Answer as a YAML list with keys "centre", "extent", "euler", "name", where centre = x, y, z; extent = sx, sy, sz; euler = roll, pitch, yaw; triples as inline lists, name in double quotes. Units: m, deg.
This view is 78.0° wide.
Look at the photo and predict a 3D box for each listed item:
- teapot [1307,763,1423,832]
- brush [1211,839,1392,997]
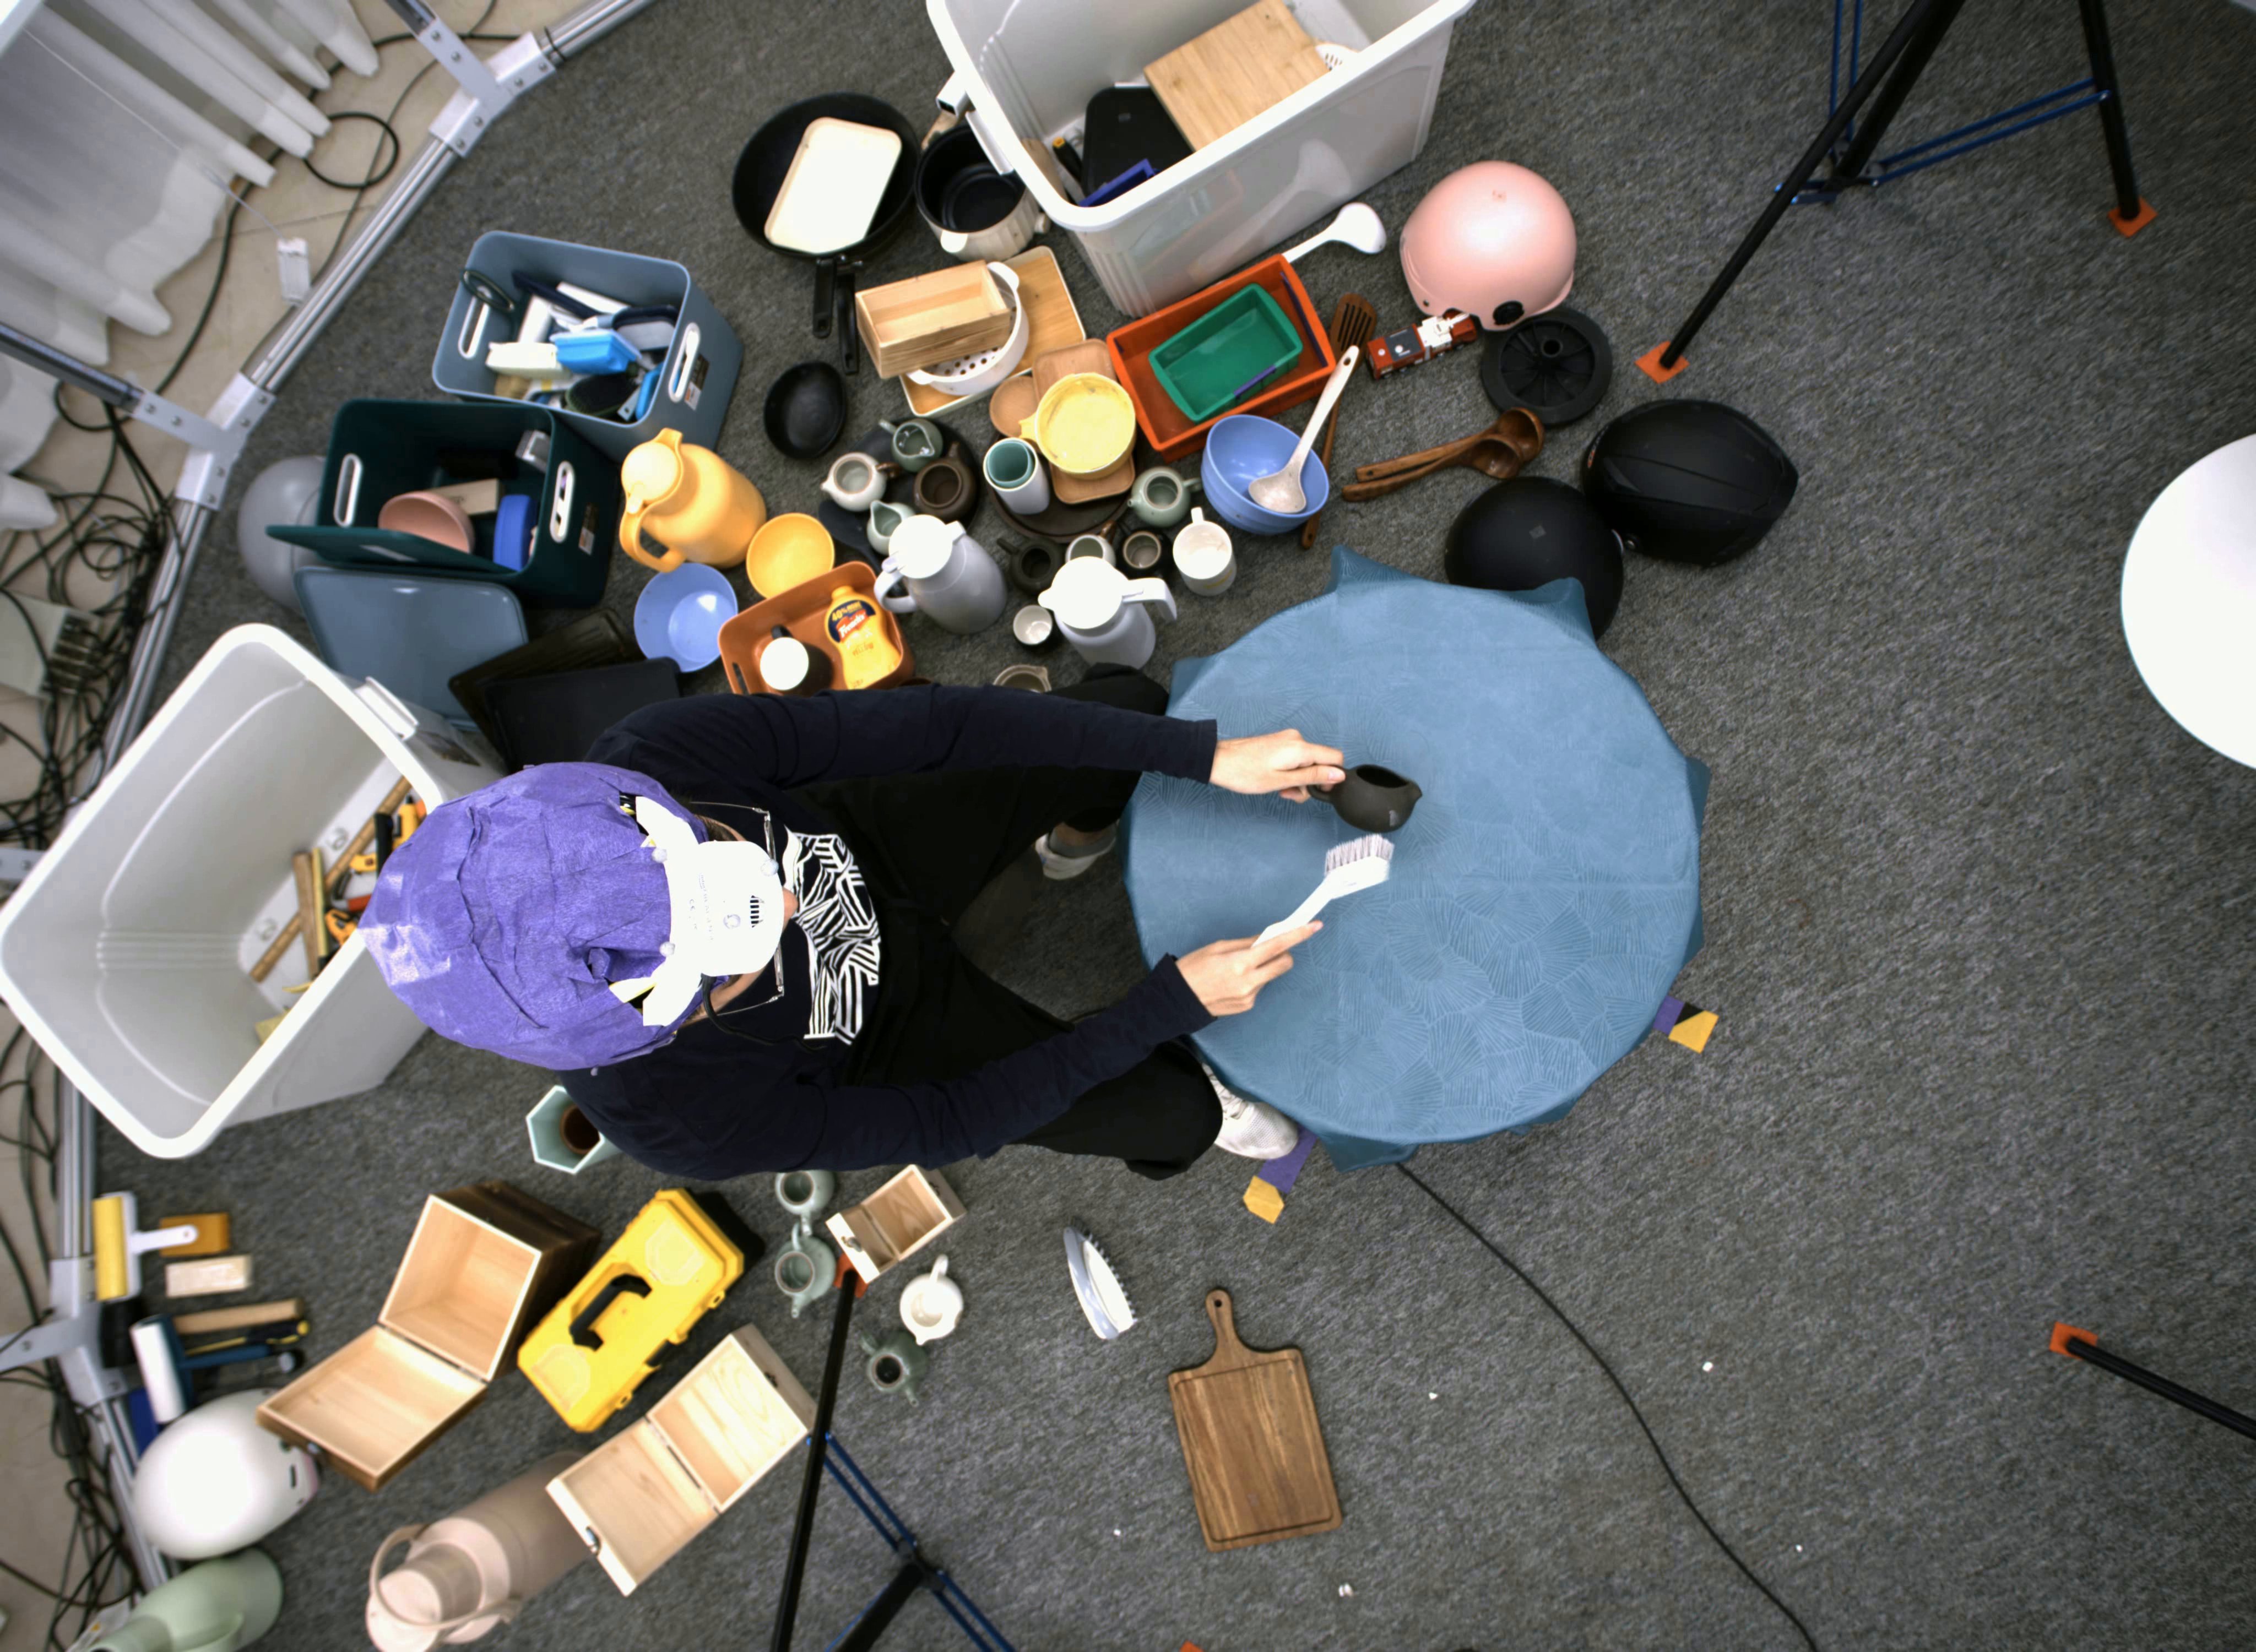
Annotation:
- centre: [0.237, -0.034, 1.394]
  extent: [0.114, 0.081, 0.054]
  euler: [16, 121, 5]
  name: "teapot"
- centre: [0.165, 0.090, 1.374]
  extent: [0.248, 0.034, 0.049]
  euler: [-41, 52, 31]
  name: "brush"
